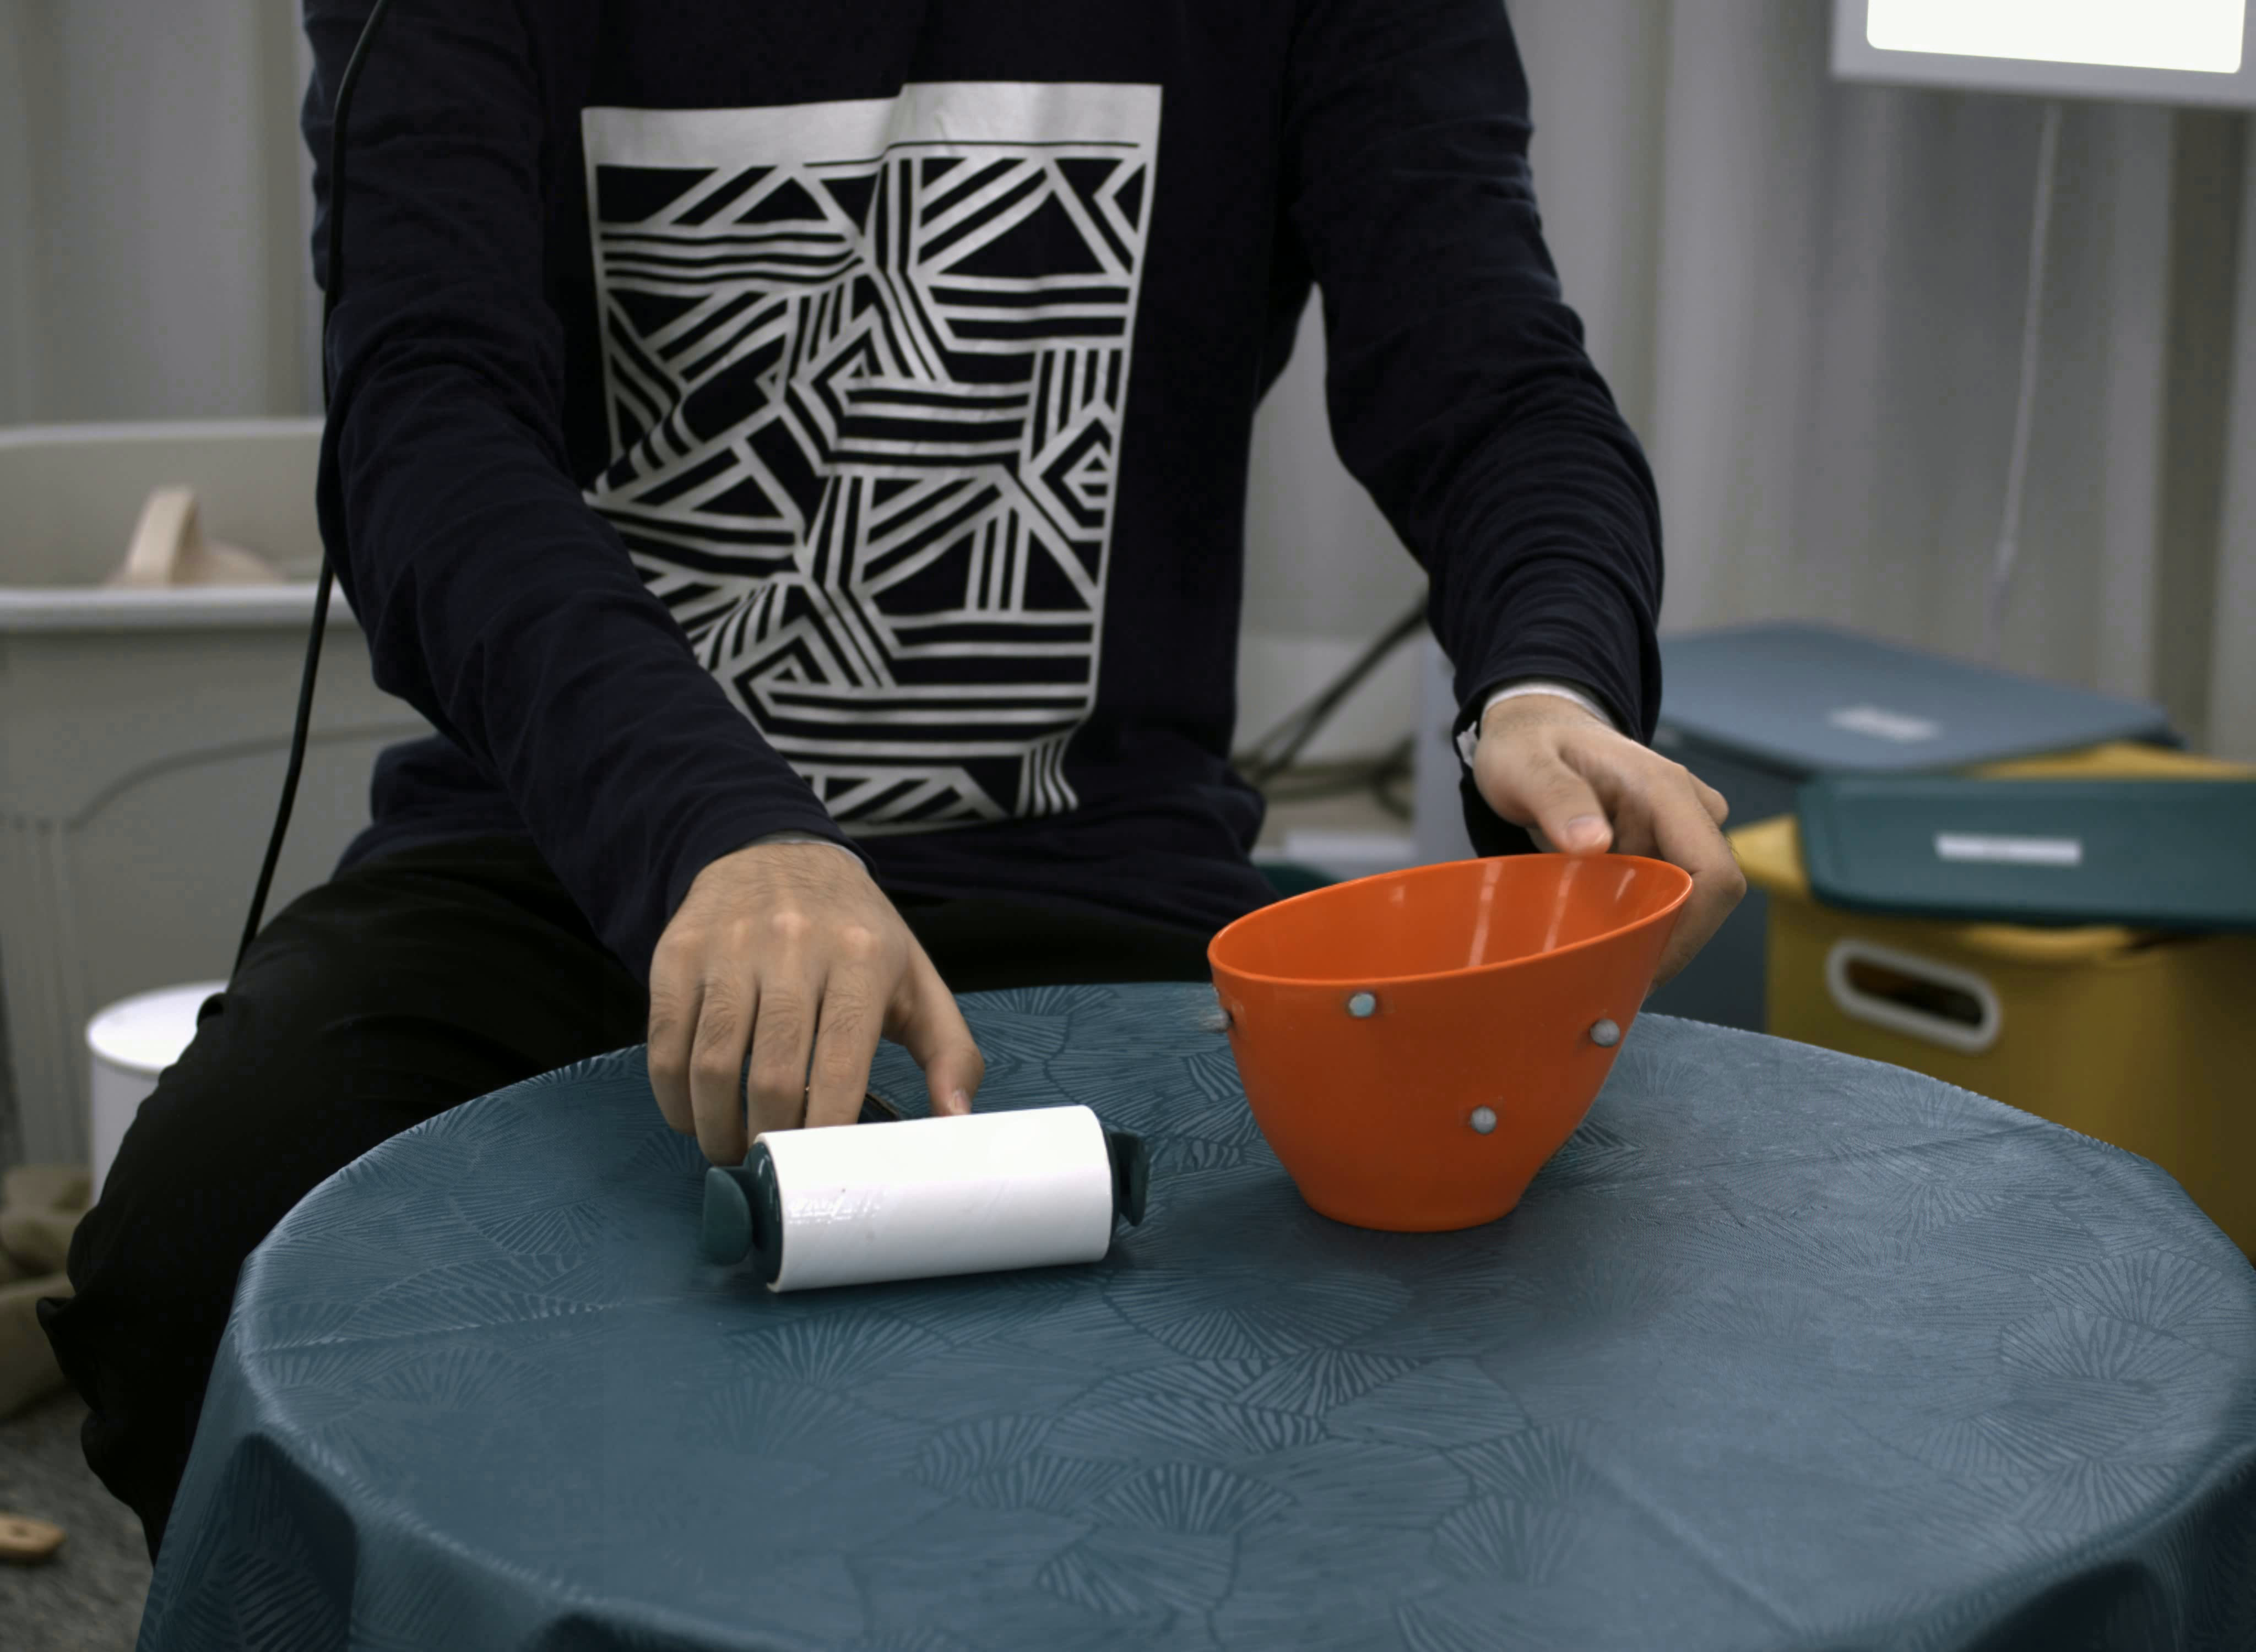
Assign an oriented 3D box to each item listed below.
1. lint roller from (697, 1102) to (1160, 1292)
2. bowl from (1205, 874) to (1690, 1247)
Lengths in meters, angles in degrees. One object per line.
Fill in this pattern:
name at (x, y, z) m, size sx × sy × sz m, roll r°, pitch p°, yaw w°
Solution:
lint roller at (-0.078, 0.096, 1.608) m, size 0.134 × 0.048 × 0.178 m, roll -5°, pitch 13°, yaw -16°
bowl at (0.096, 0.071, 1.605) m, size 0.147 × 0.105 × 0.147 m, roll 0°, pitch 14°, yaw 0°
